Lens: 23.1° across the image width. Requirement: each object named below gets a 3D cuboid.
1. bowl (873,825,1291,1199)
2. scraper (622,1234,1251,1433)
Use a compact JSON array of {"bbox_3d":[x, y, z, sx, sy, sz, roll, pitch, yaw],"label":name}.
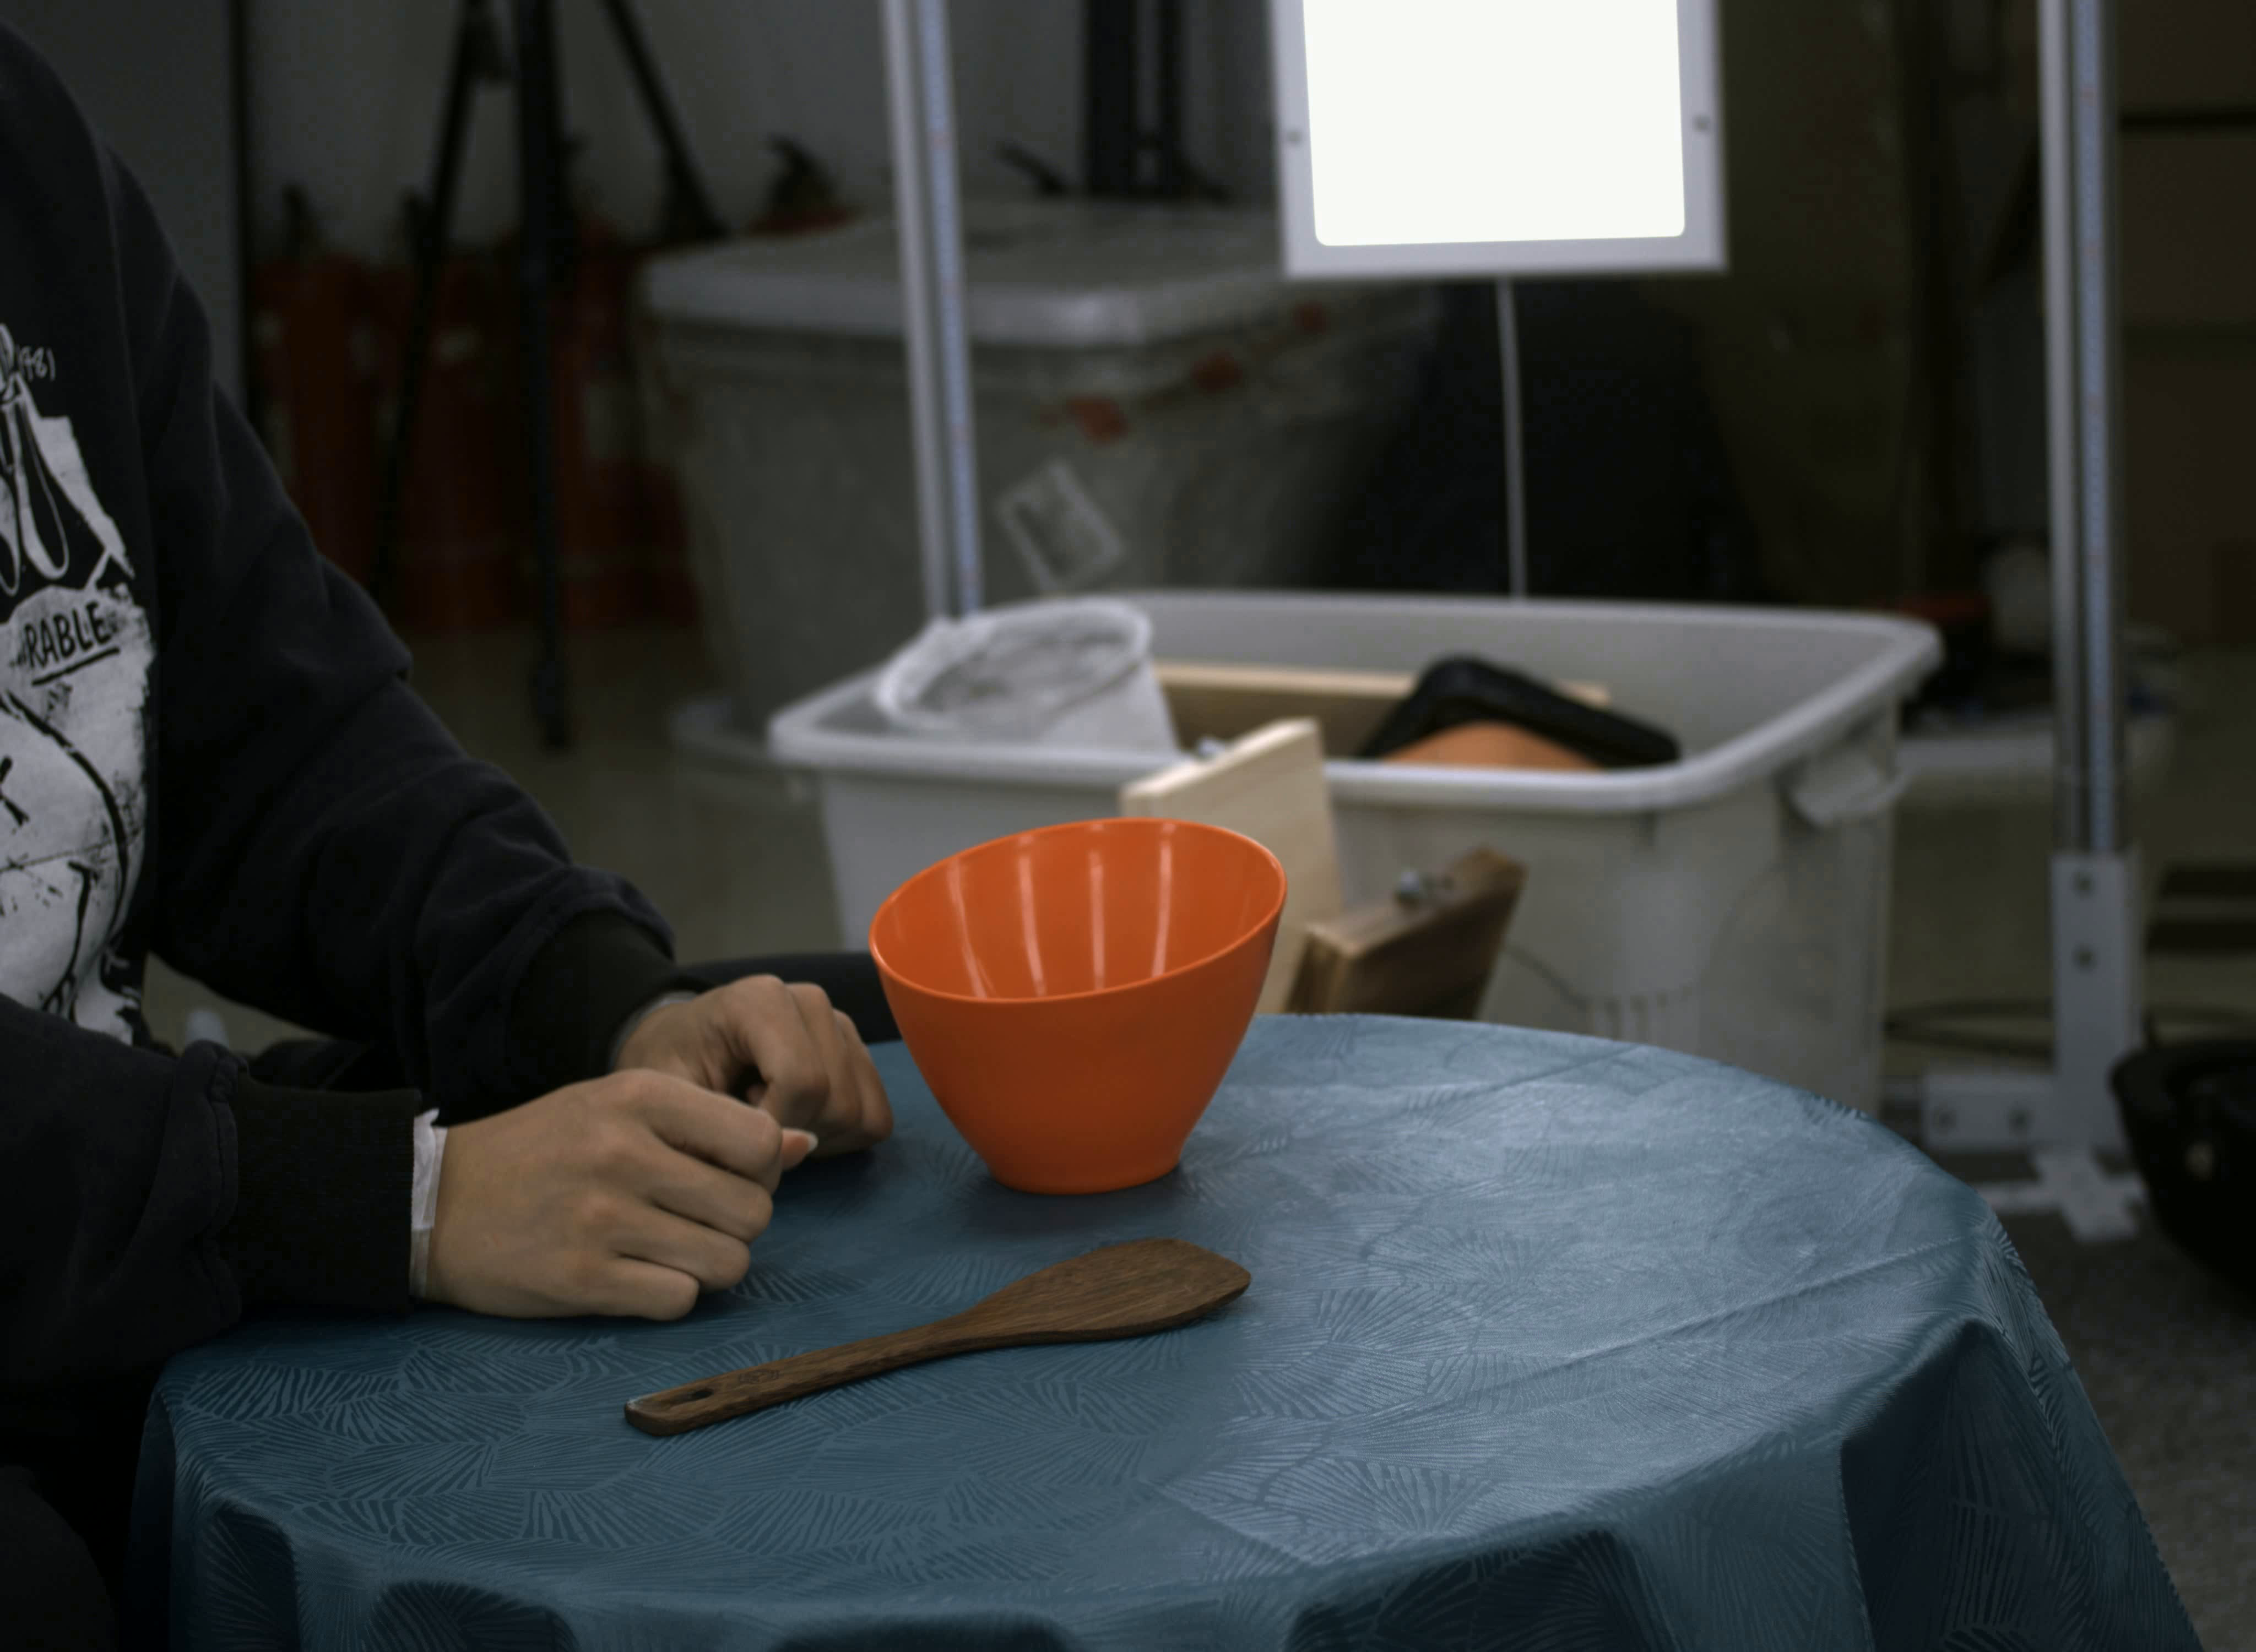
[{"bbox_3d":[-0.014,0.068,1.927,0.147,0.105,0.148,-4,14,0],"label":"bowl"},{"bbox_3d":[-0.063,0.164,1.752,0.207,0.011,0.077,-13,15,-26],"label":"scraper"}]
